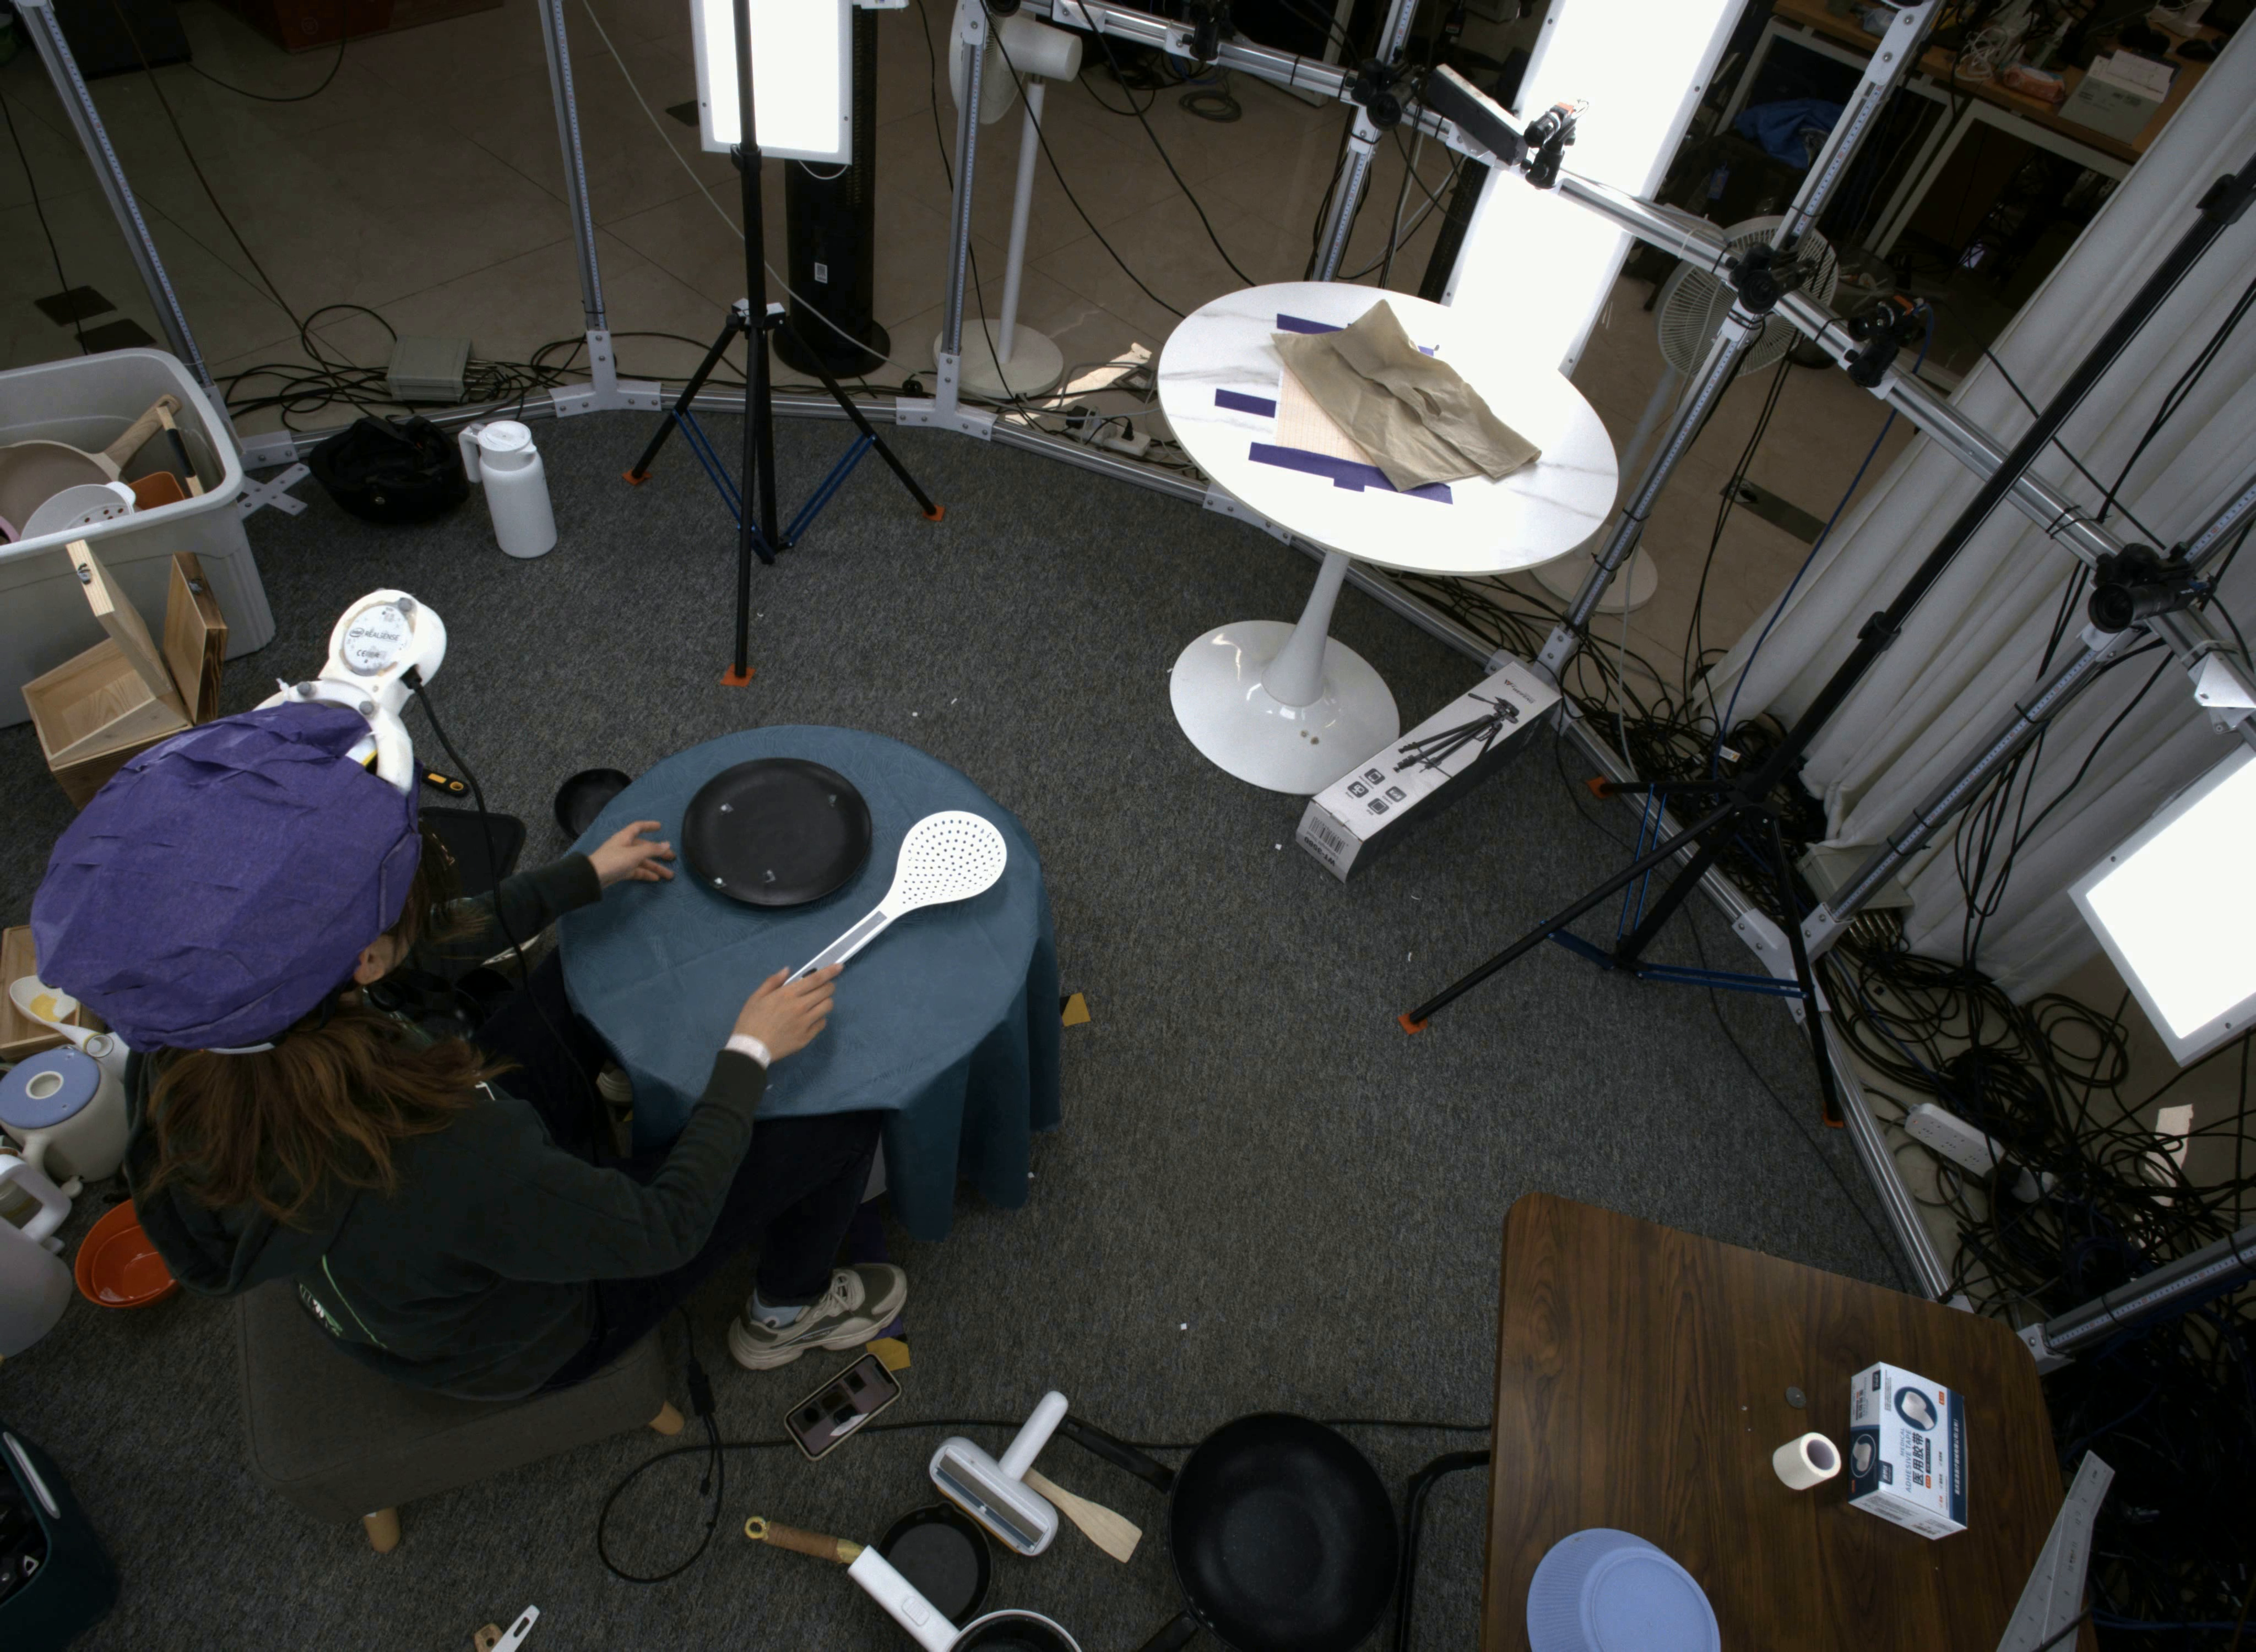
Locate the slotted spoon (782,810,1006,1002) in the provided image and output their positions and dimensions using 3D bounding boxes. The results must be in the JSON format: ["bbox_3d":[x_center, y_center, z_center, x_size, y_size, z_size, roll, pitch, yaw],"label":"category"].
[{"bbox_3d":[-0.299,0.102,1.656,0.133,0.047,0.350,38,55,17],"label":"slotted spoon"}]

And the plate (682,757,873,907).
[{"bbox_3d":[-0.459,0.008,1.699,0.244,0.024,0.240,8,52,-9],"label":"plate"}]
